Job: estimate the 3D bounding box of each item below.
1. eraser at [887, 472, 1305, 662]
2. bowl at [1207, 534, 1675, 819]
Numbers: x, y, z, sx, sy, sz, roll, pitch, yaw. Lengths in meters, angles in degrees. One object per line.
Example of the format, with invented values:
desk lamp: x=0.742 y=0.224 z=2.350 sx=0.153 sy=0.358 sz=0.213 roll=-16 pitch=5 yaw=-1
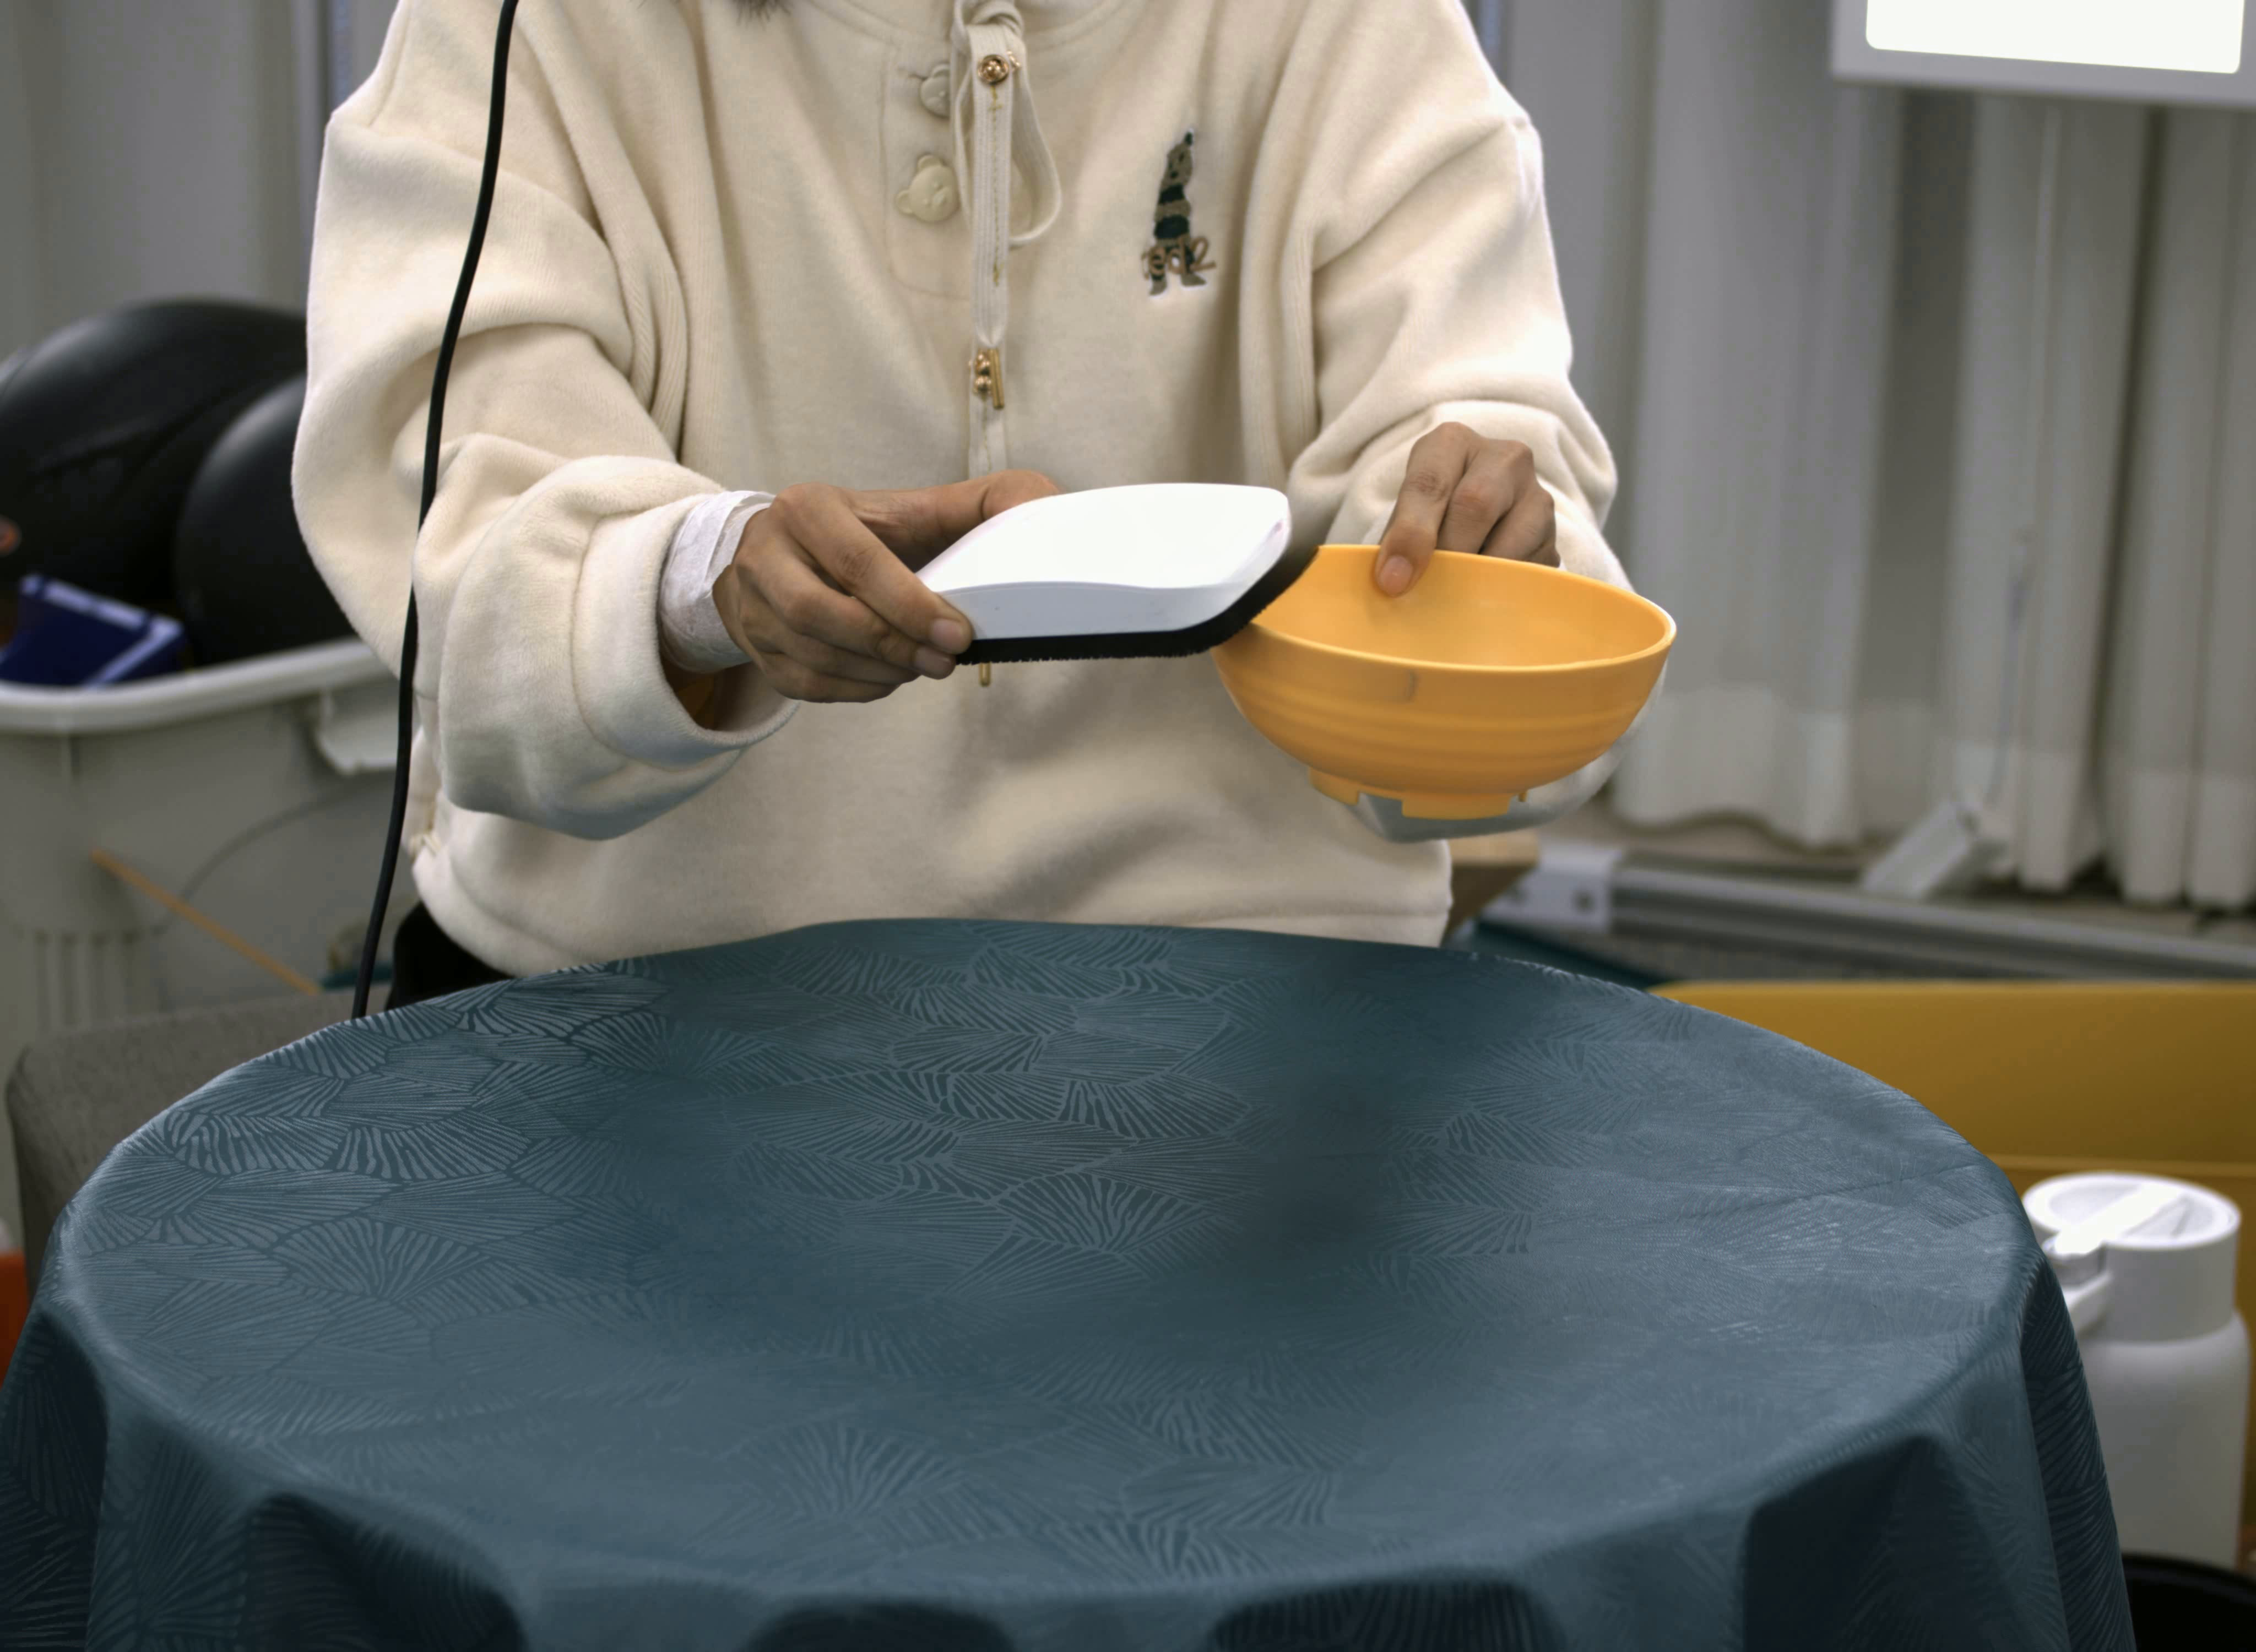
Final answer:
eraser: x=-0.009 y=-0.076 z=1.556 sx=0.130 sy=0.035 sz=0.063 roll=0 pitch=30 yaw=43
bowl: x=0.089 y=-0.040 z=1.579 sx=0.145 sy=0.060 sz=0.144 roll=6 pitch=18 yaw=-1
